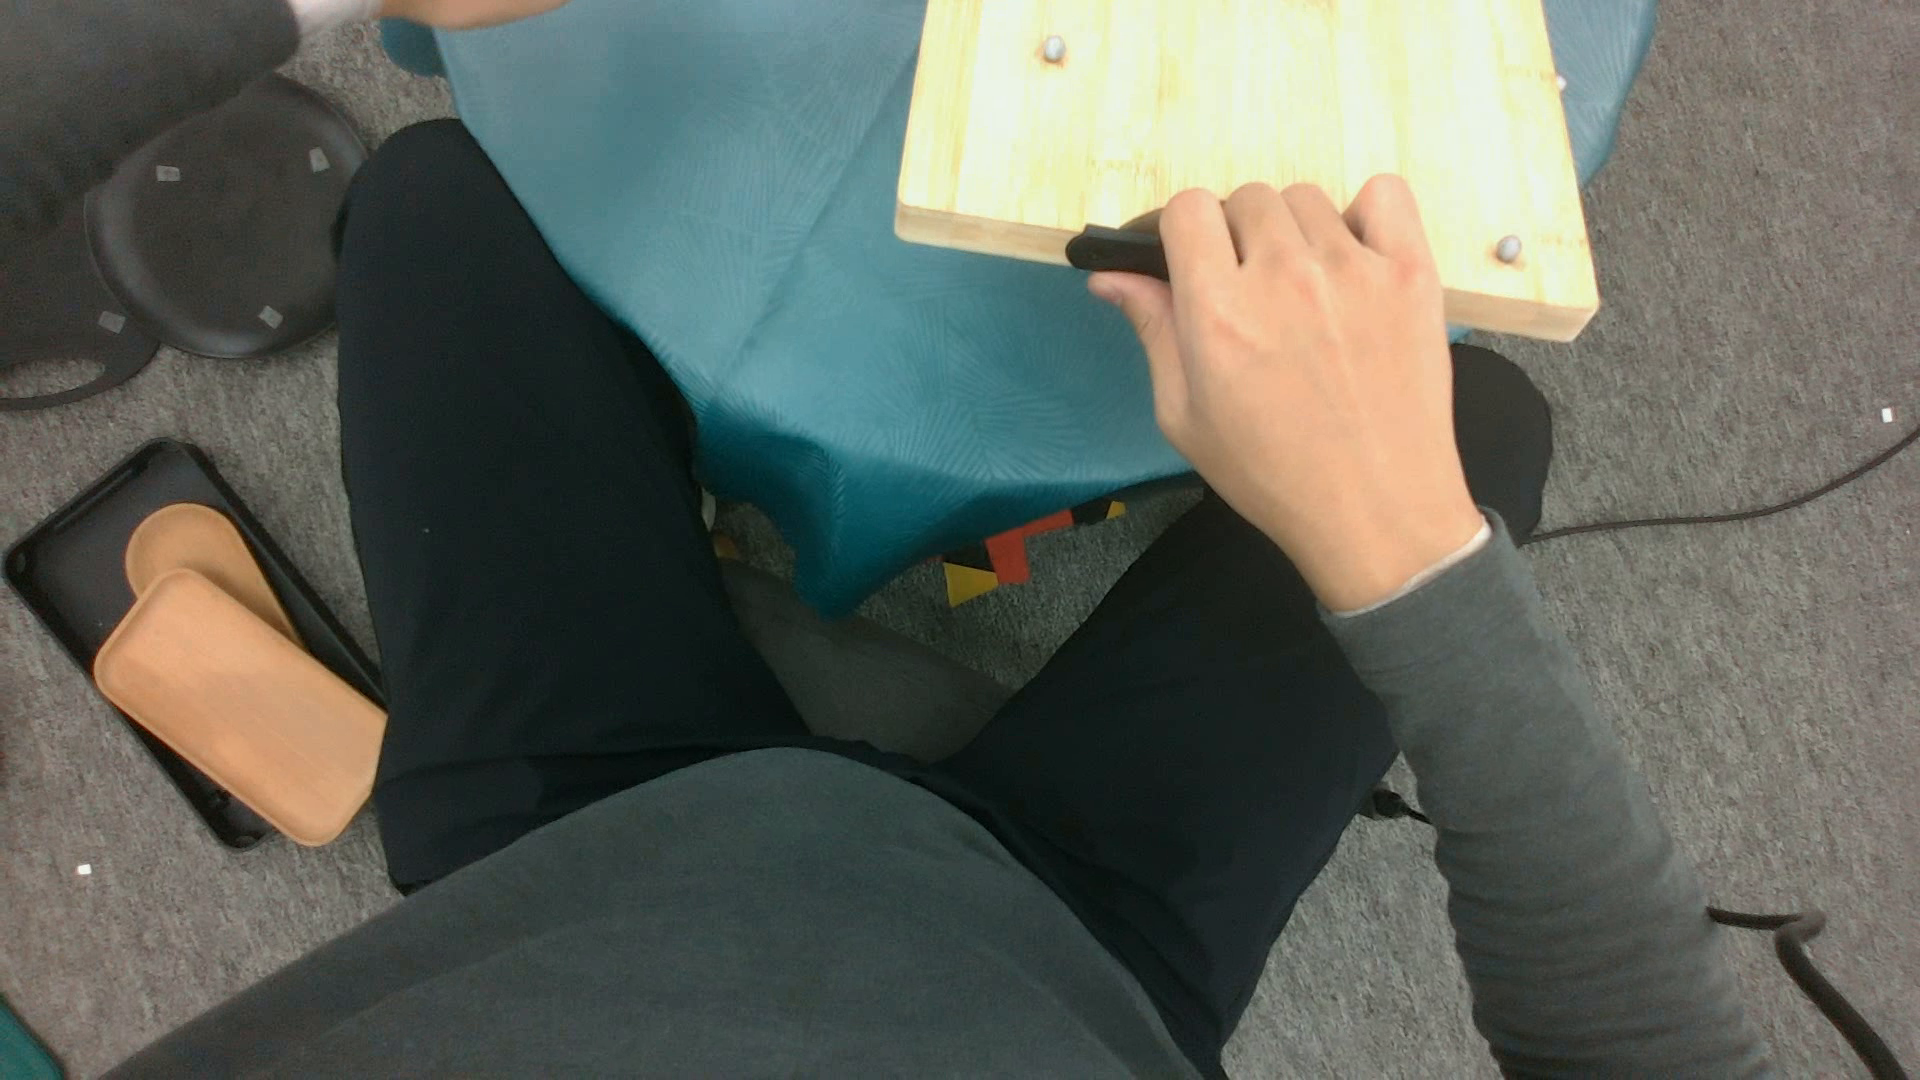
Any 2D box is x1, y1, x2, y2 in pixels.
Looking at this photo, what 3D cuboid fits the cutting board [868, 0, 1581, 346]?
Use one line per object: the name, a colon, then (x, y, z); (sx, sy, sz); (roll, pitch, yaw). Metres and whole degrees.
cutting board: (0.106, -0.233, 0.555); (0.251, 0.023, 0.350); (7, 58, -4)
